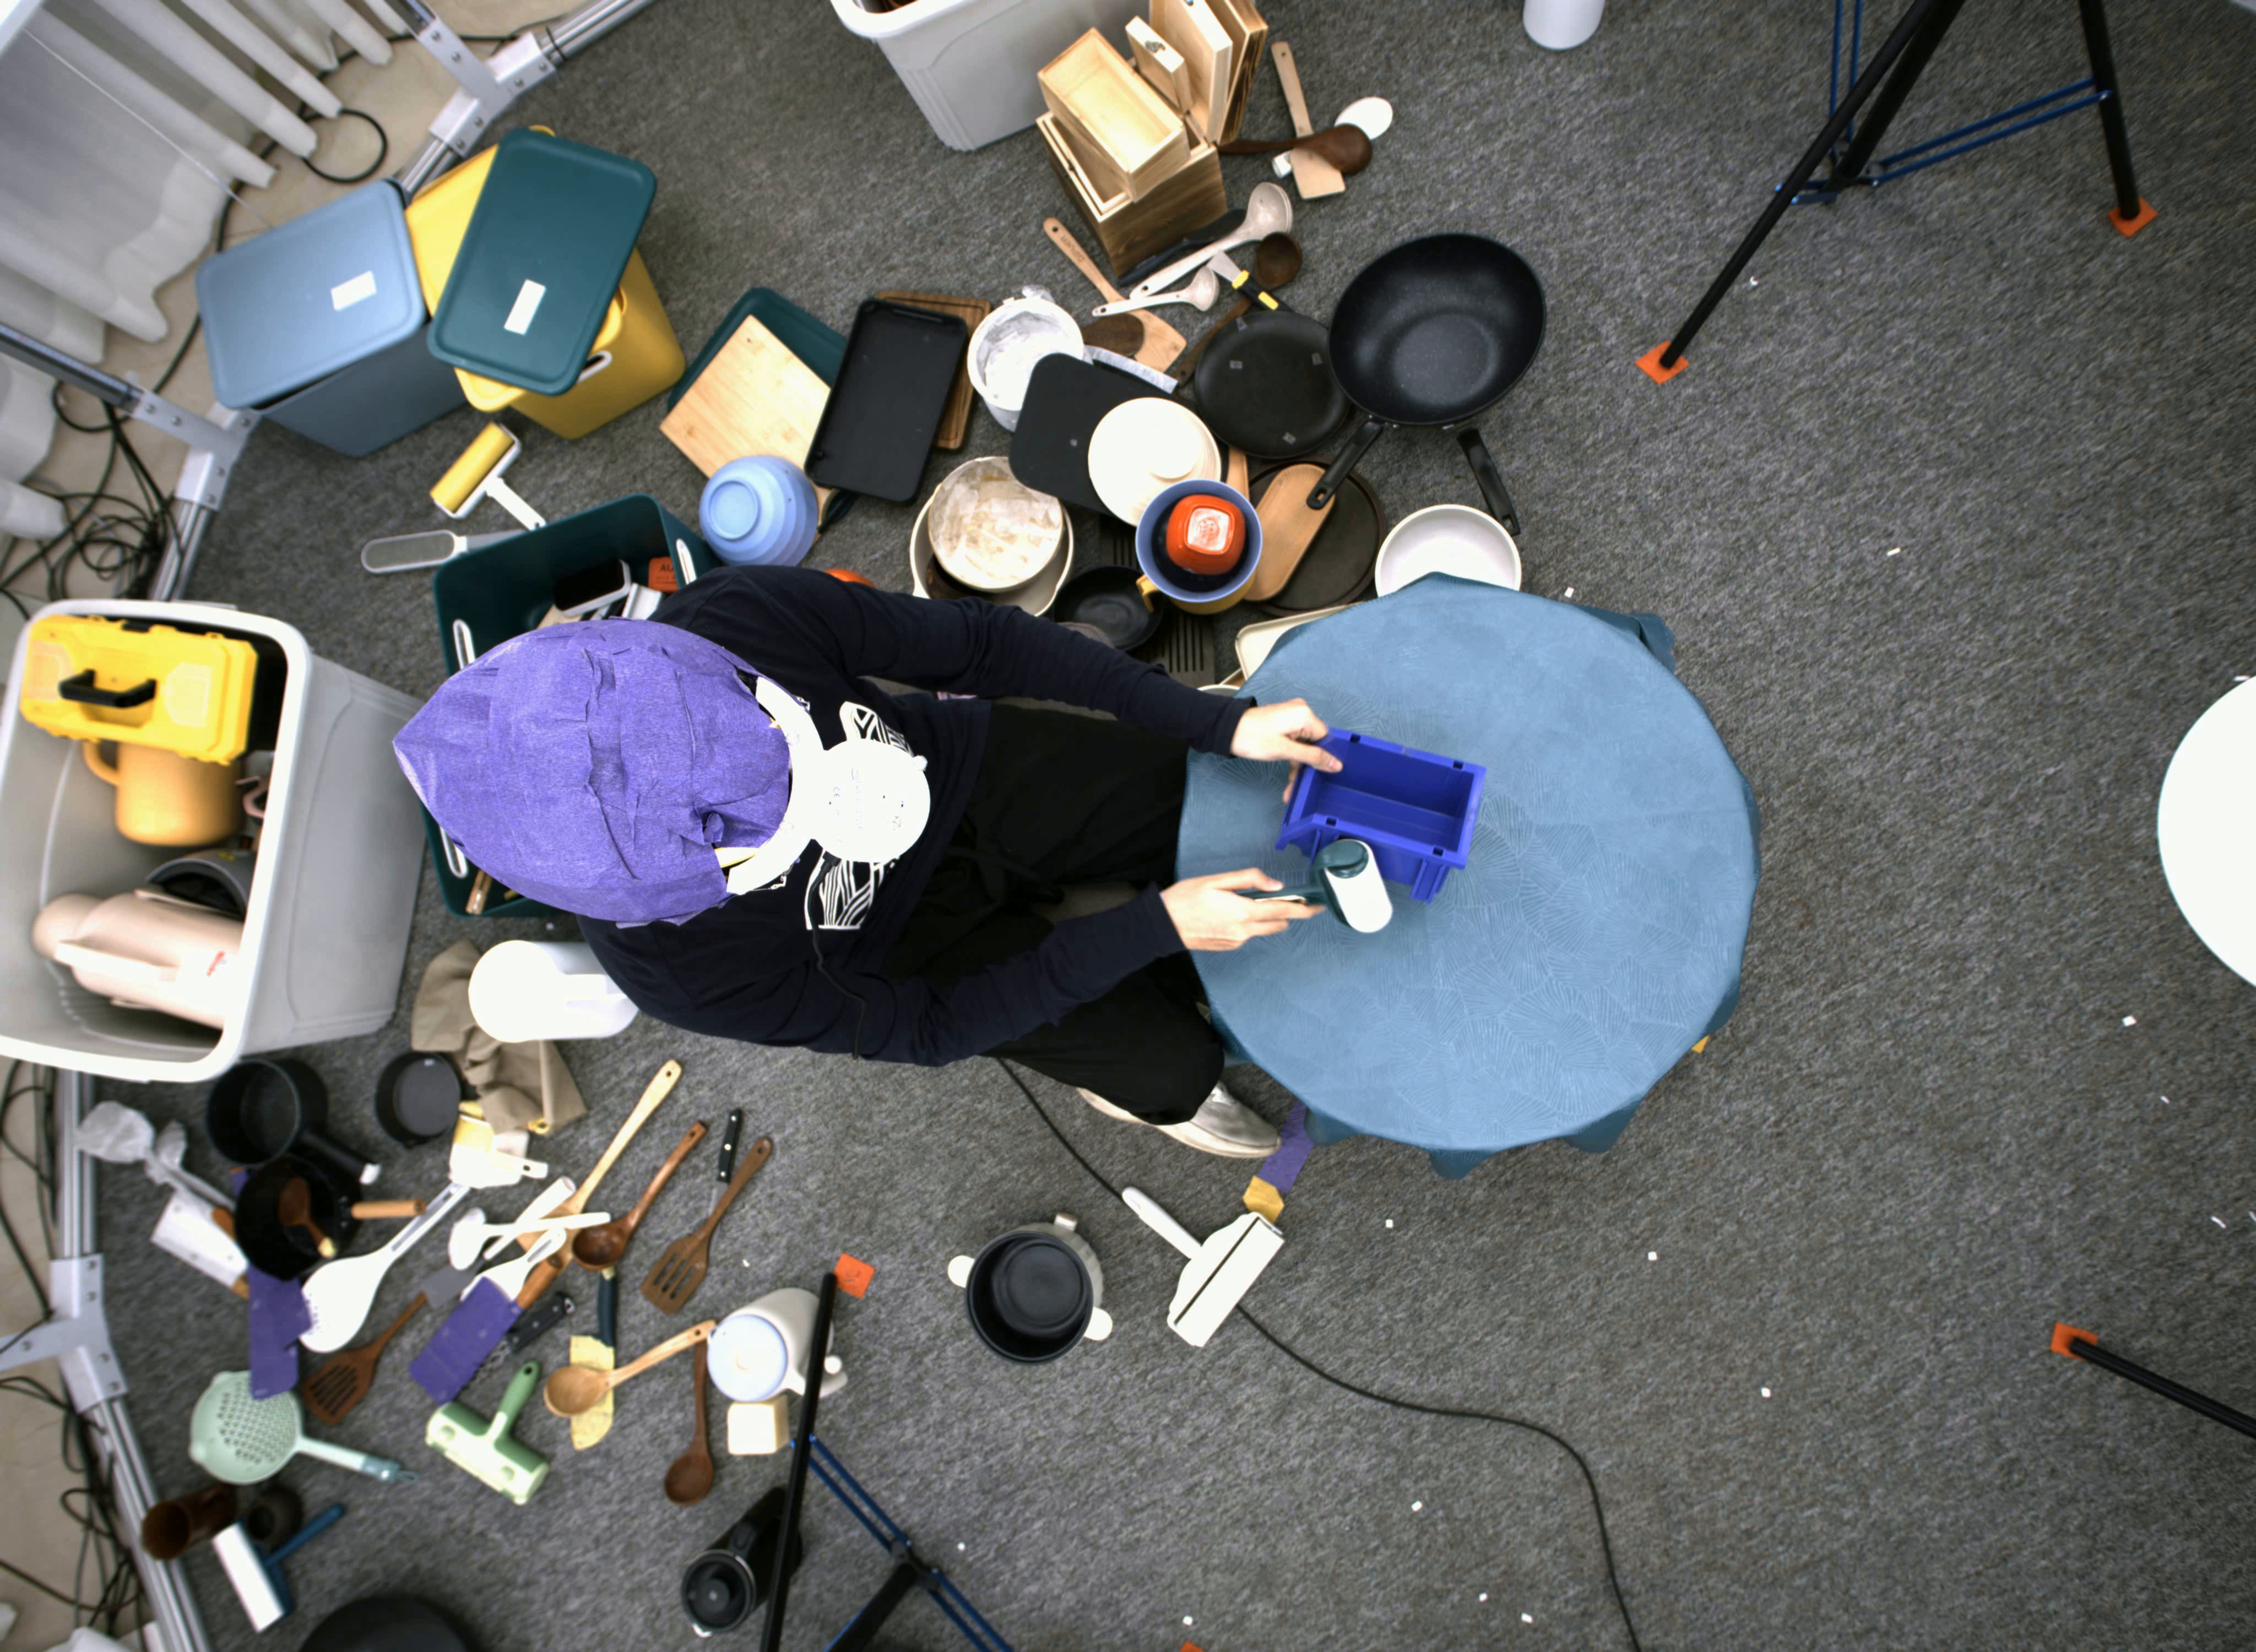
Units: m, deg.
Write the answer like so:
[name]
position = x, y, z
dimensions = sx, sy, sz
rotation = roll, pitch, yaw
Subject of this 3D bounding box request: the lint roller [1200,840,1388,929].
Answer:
[lint roller]
position = 0.159, 0.073, 1.365
dimensions = 0.181, 0.136, 0.047
rotation = -15, 55, 15

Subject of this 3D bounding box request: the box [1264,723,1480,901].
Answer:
[box]
position = 0.238, -0.016, 1.362
dimensions = 0.179, 0.084, 0.121
rotation = 19, 60, 7
